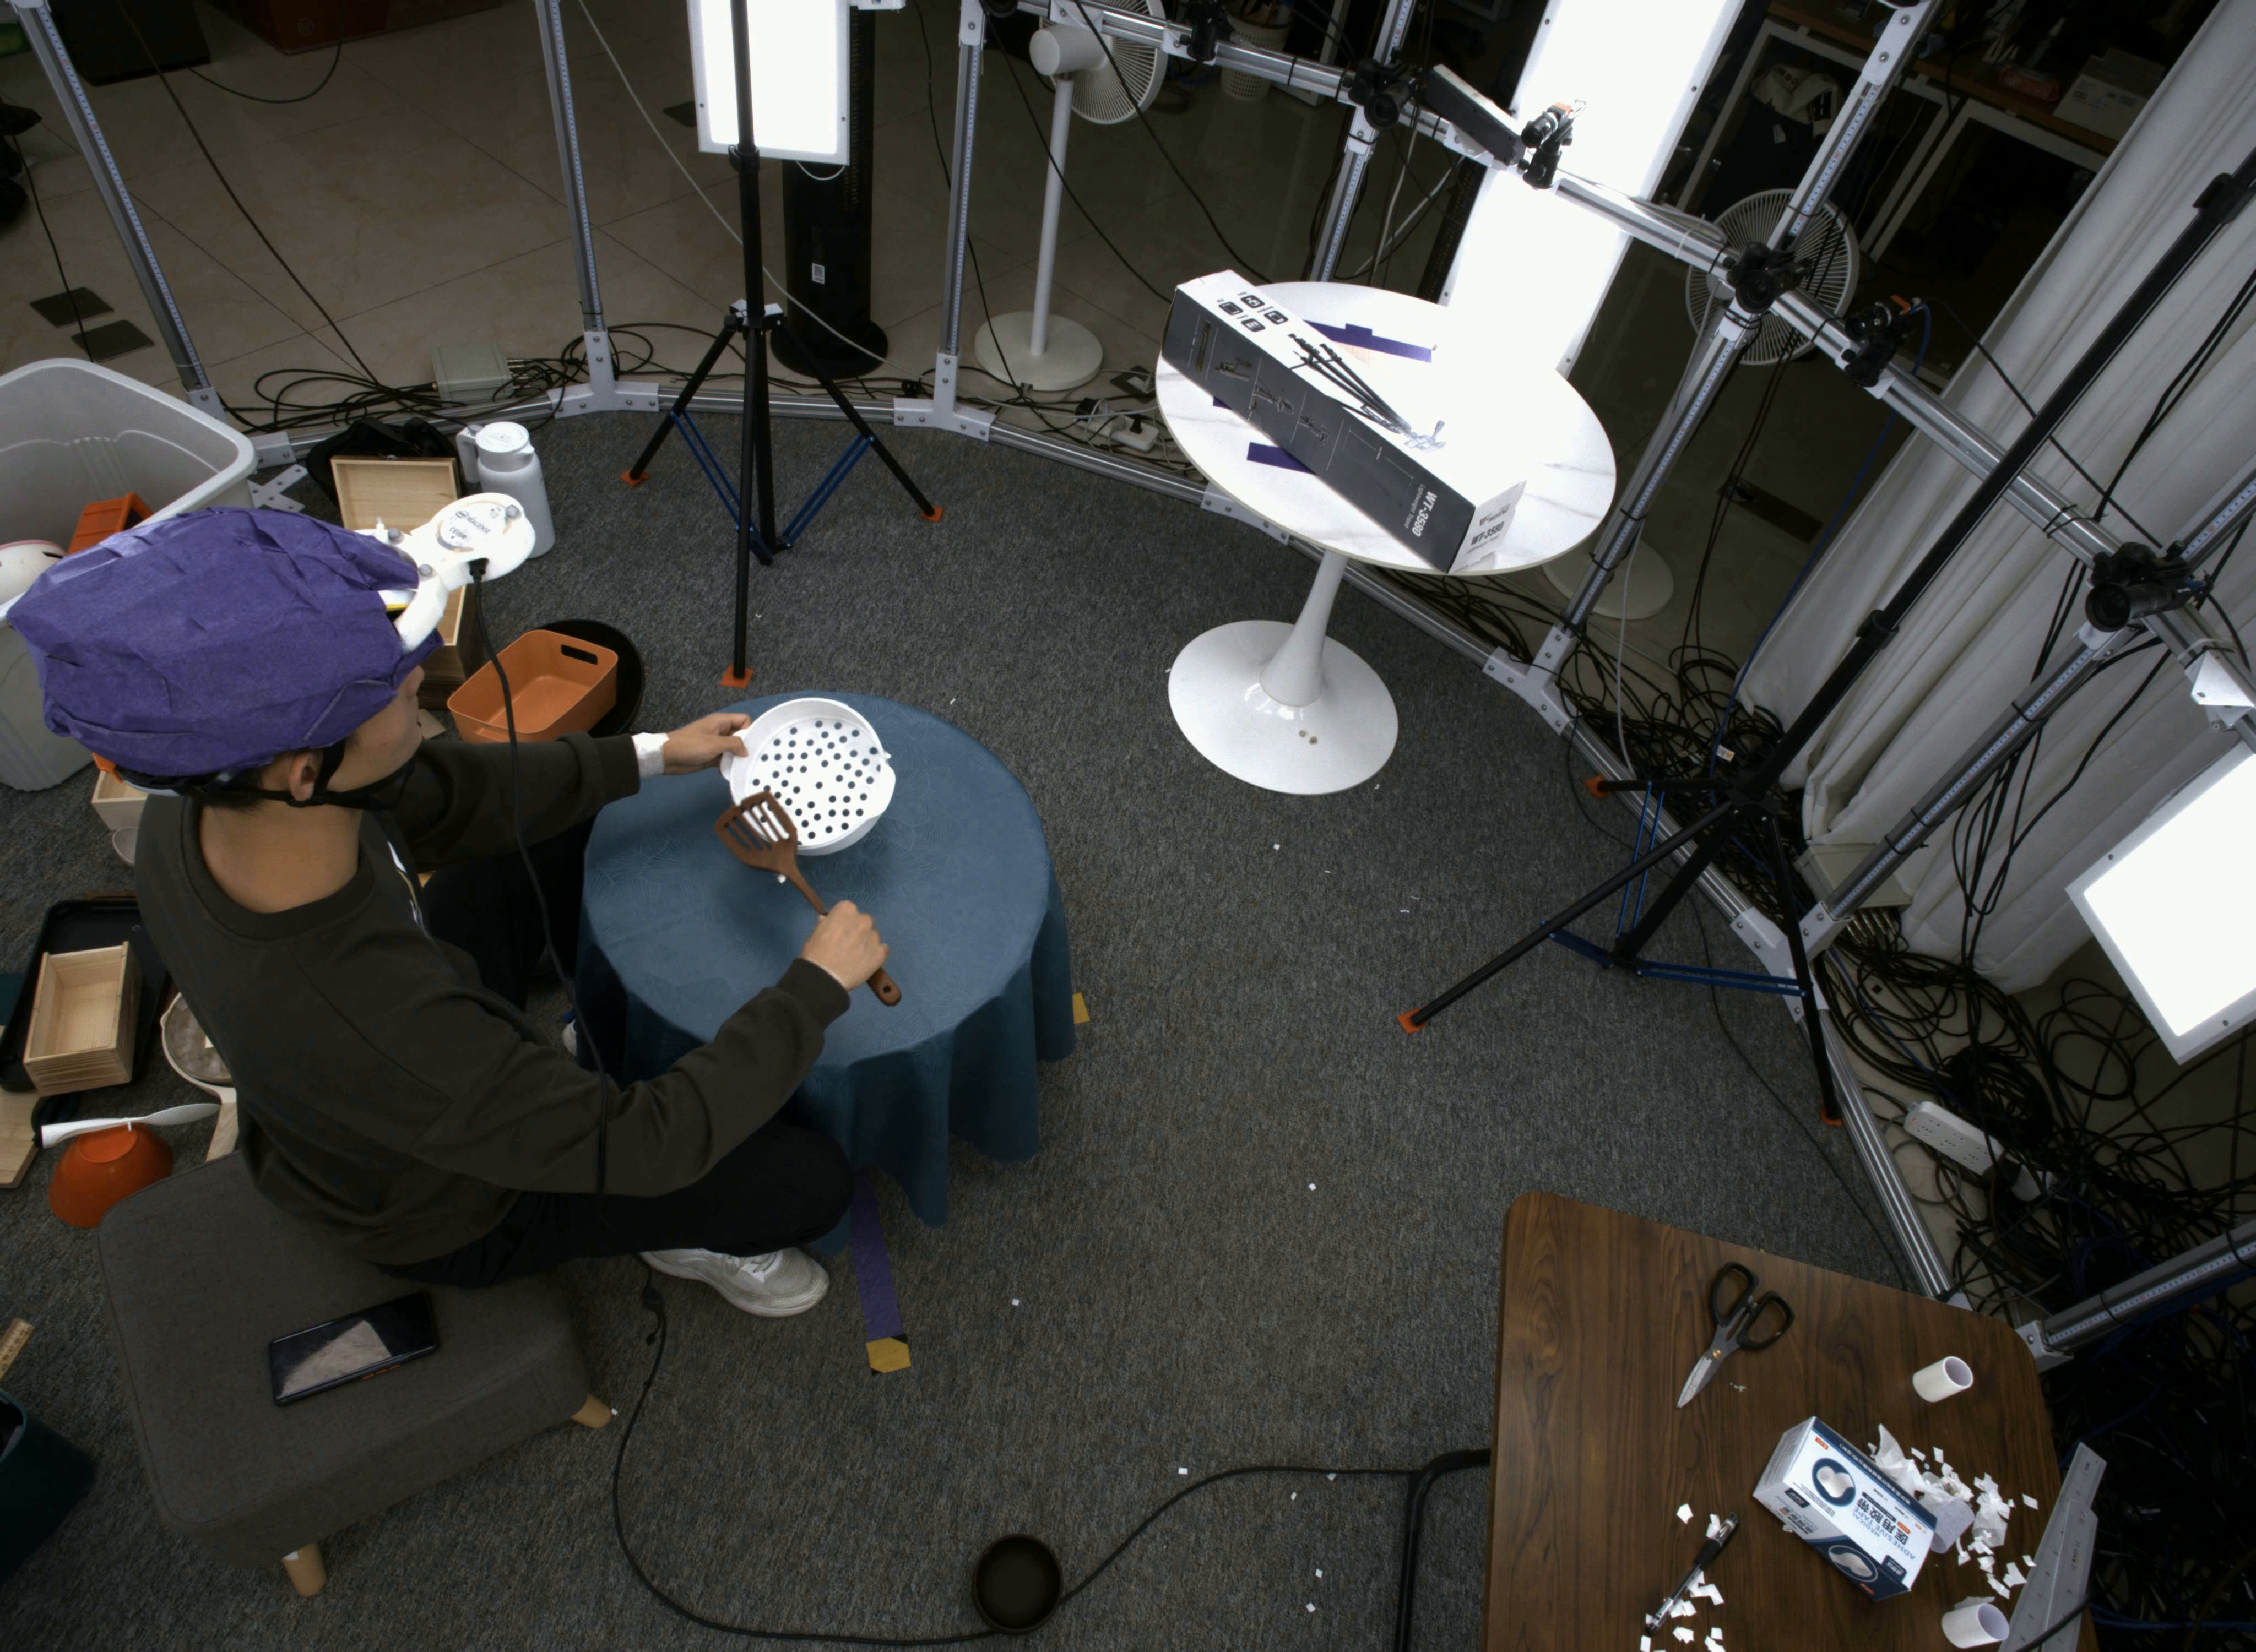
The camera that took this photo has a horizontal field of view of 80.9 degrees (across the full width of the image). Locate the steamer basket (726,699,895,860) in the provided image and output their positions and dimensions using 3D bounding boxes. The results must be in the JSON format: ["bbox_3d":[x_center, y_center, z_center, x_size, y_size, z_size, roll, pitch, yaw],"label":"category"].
[{"bbox_3d":[-0.404,-0.059,1.684,0.226,0.070,0.202,13,77,9],"label":"steamer basket"}]

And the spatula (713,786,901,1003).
[{"bbox_3d":[-0.367,0.078,1.511,0.086,0.024,0.372,-35,55,-20],"label":"spatula"}]
